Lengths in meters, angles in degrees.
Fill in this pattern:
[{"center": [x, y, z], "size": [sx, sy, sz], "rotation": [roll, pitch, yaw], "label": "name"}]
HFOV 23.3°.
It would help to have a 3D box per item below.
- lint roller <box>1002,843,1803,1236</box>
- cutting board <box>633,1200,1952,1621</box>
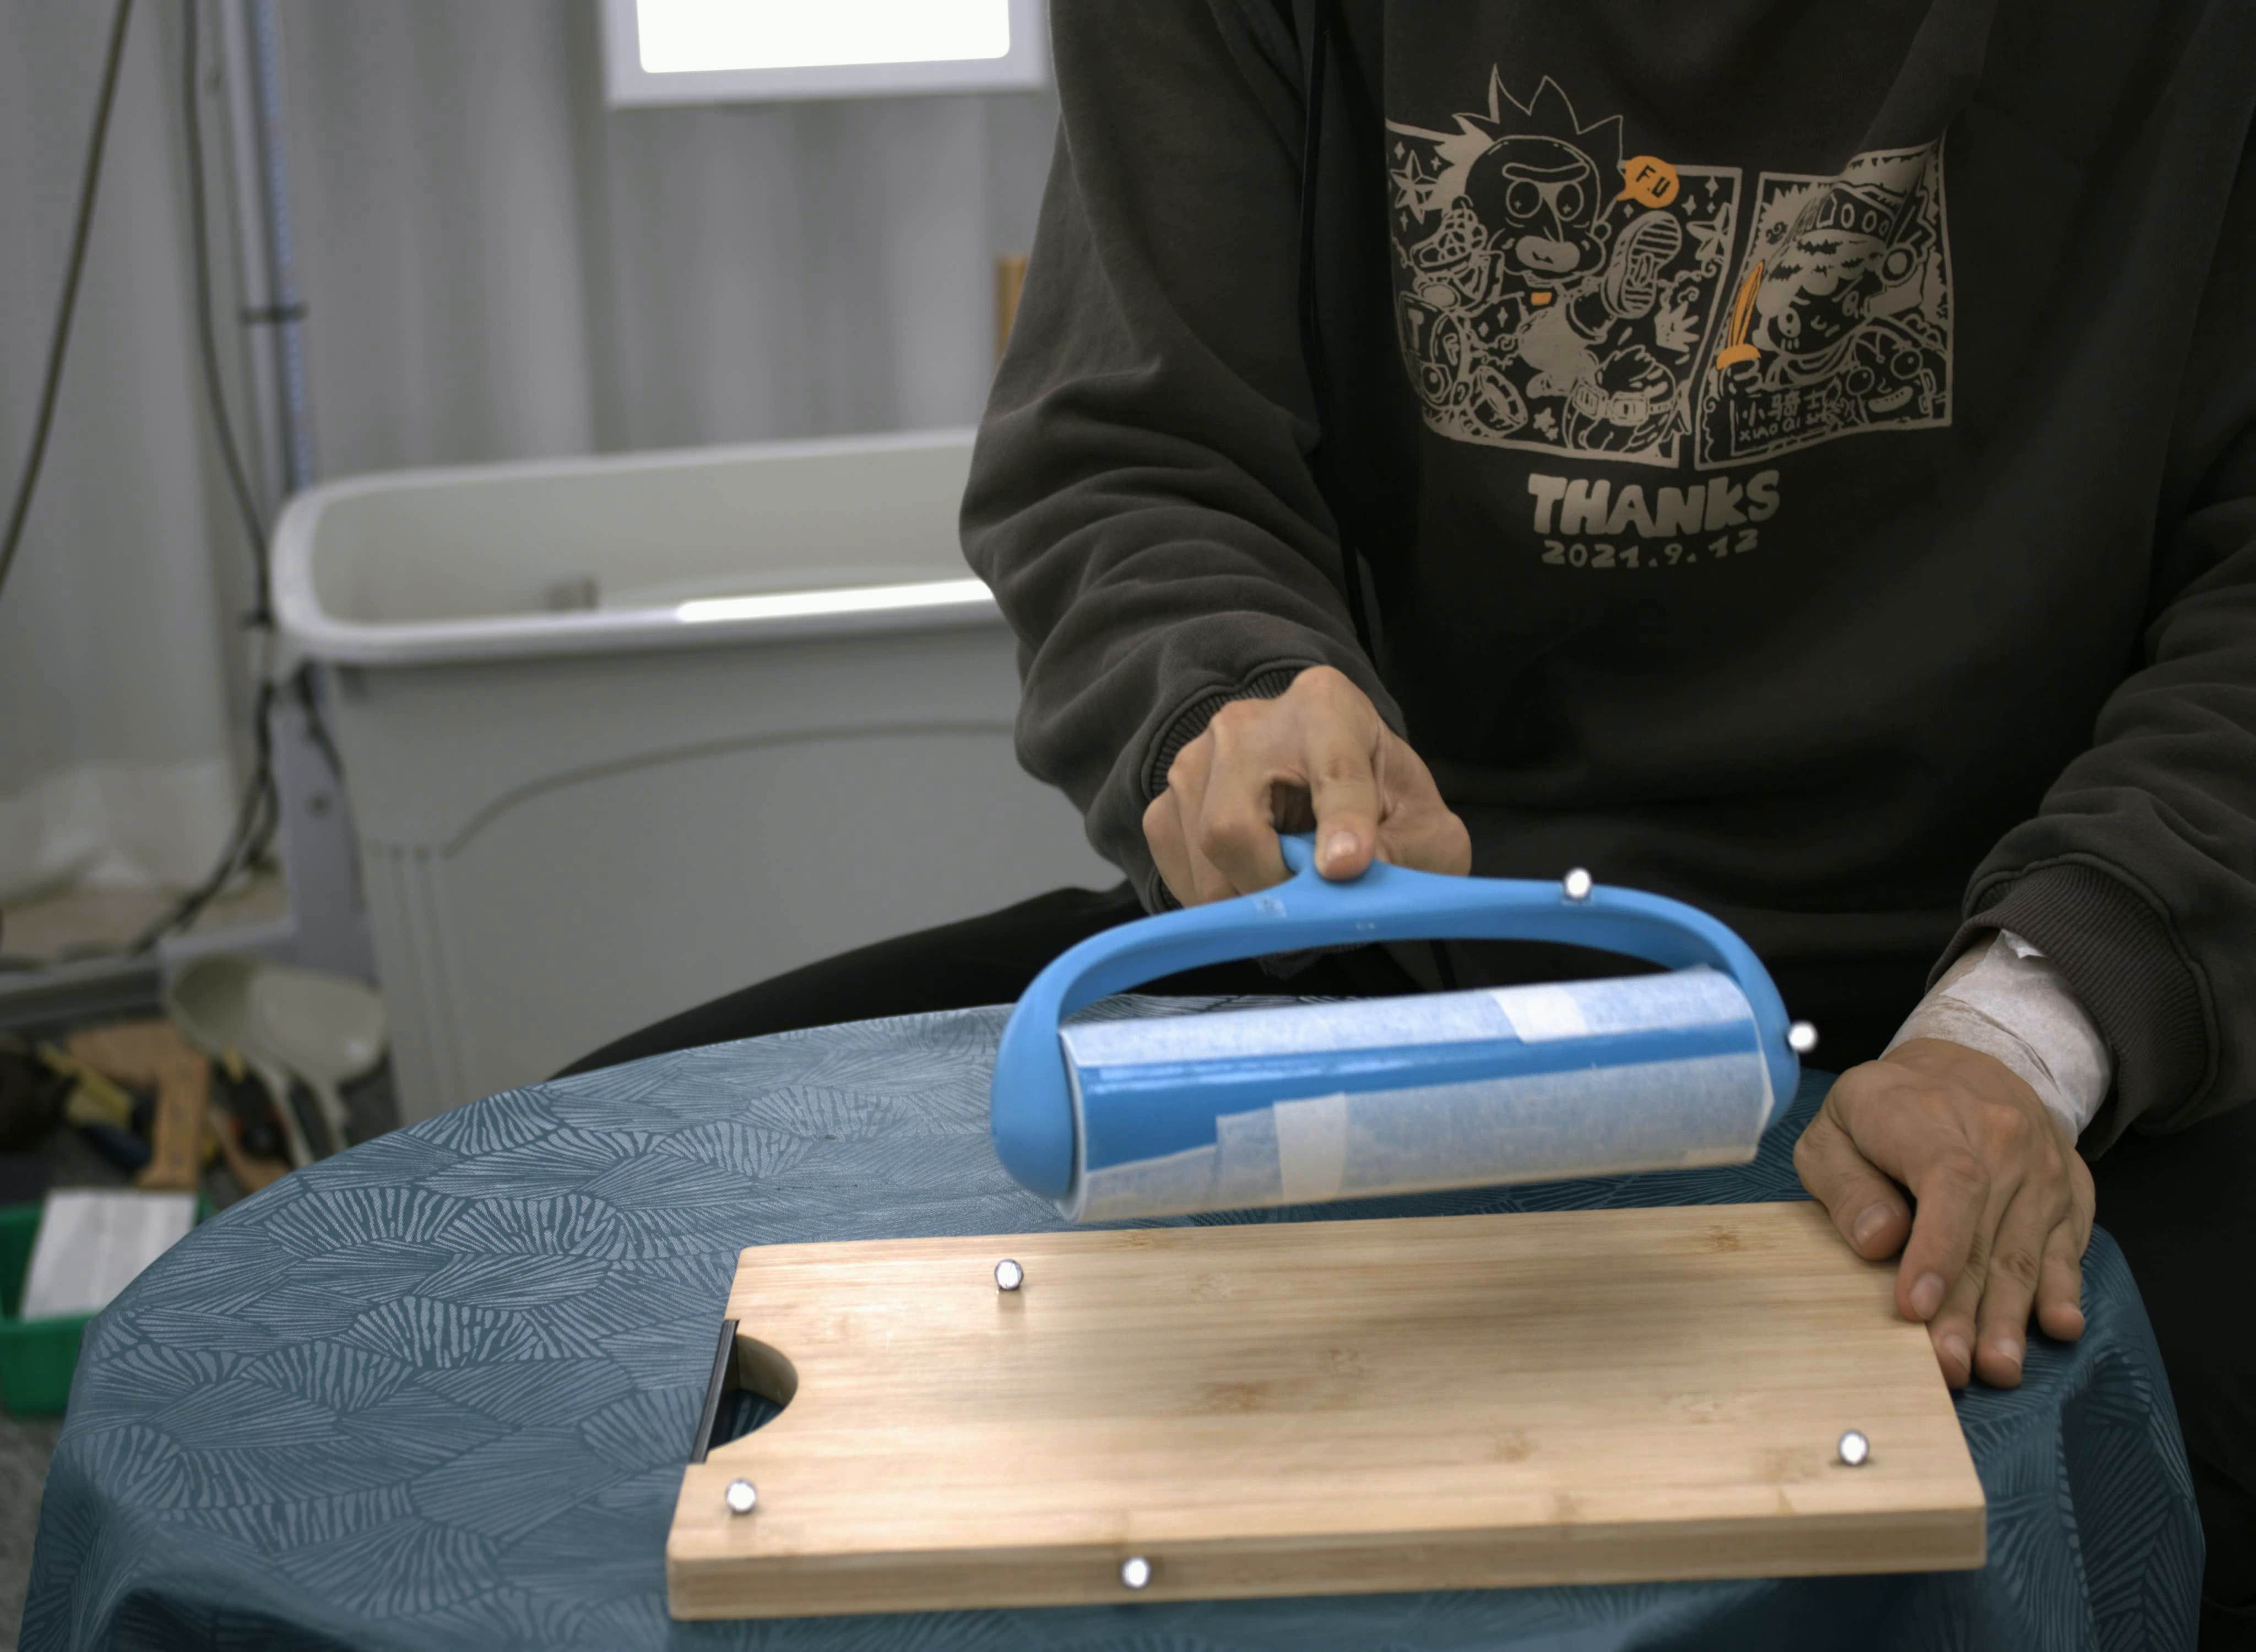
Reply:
[{"center": [0.059, 0.042, 1.543], "size": [0.228, 0.067, 0.183], "rotation": [-8, 34, -16], "label": "lint roller"}, {"center": [0.046, 0.159, 1.517], "size": [0.347, 0.023, 0.252], "rotation": [-3, 15, 1], "label": "cutting board"}]
